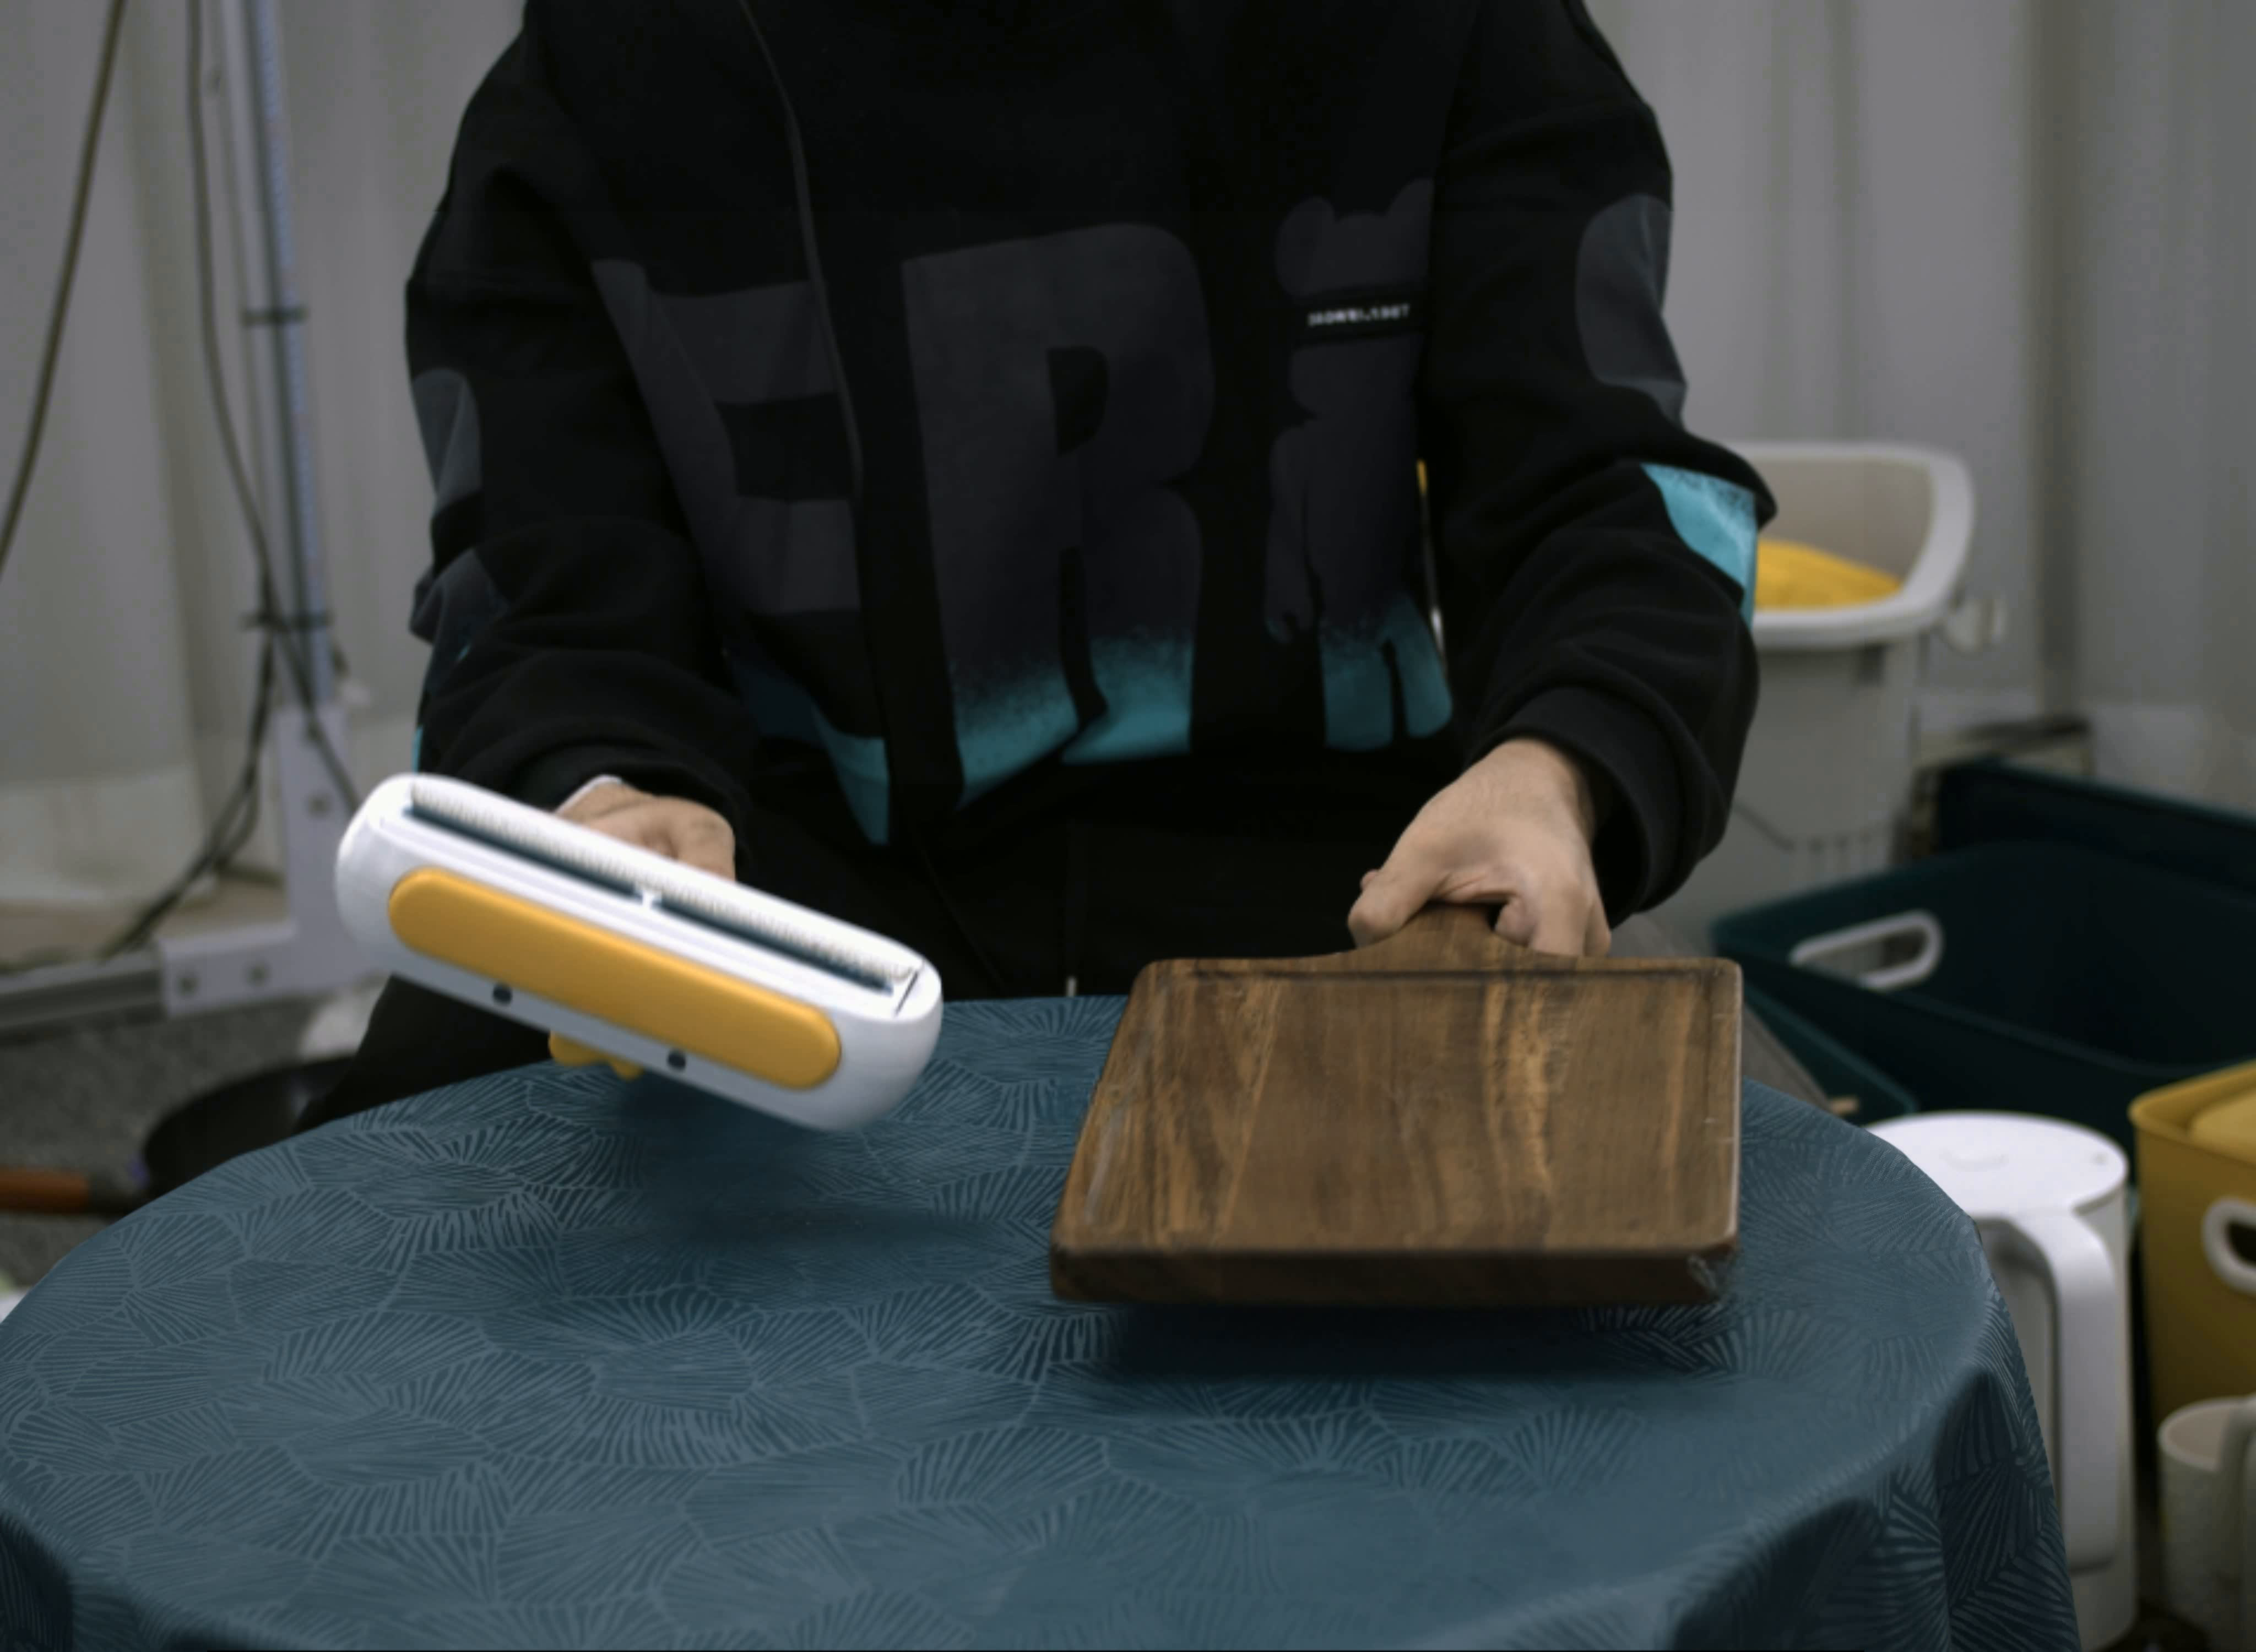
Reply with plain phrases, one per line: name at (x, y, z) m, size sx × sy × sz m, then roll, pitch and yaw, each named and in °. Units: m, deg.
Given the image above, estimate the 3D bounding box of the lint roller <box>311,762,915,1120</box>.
lint roller at (-0.151, 0.032, 1.746) m, size 0.193 × 0.074 × 0.193 m, roll 17°, pitch 12°, yaw 7°

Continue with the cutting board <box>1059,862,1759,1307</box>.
cutting board at (0.092, 0.074, 1.692) m, size 0.200 × 0.023 × 0.354 m, roll -1°, pitch 17°, yaw 6°
